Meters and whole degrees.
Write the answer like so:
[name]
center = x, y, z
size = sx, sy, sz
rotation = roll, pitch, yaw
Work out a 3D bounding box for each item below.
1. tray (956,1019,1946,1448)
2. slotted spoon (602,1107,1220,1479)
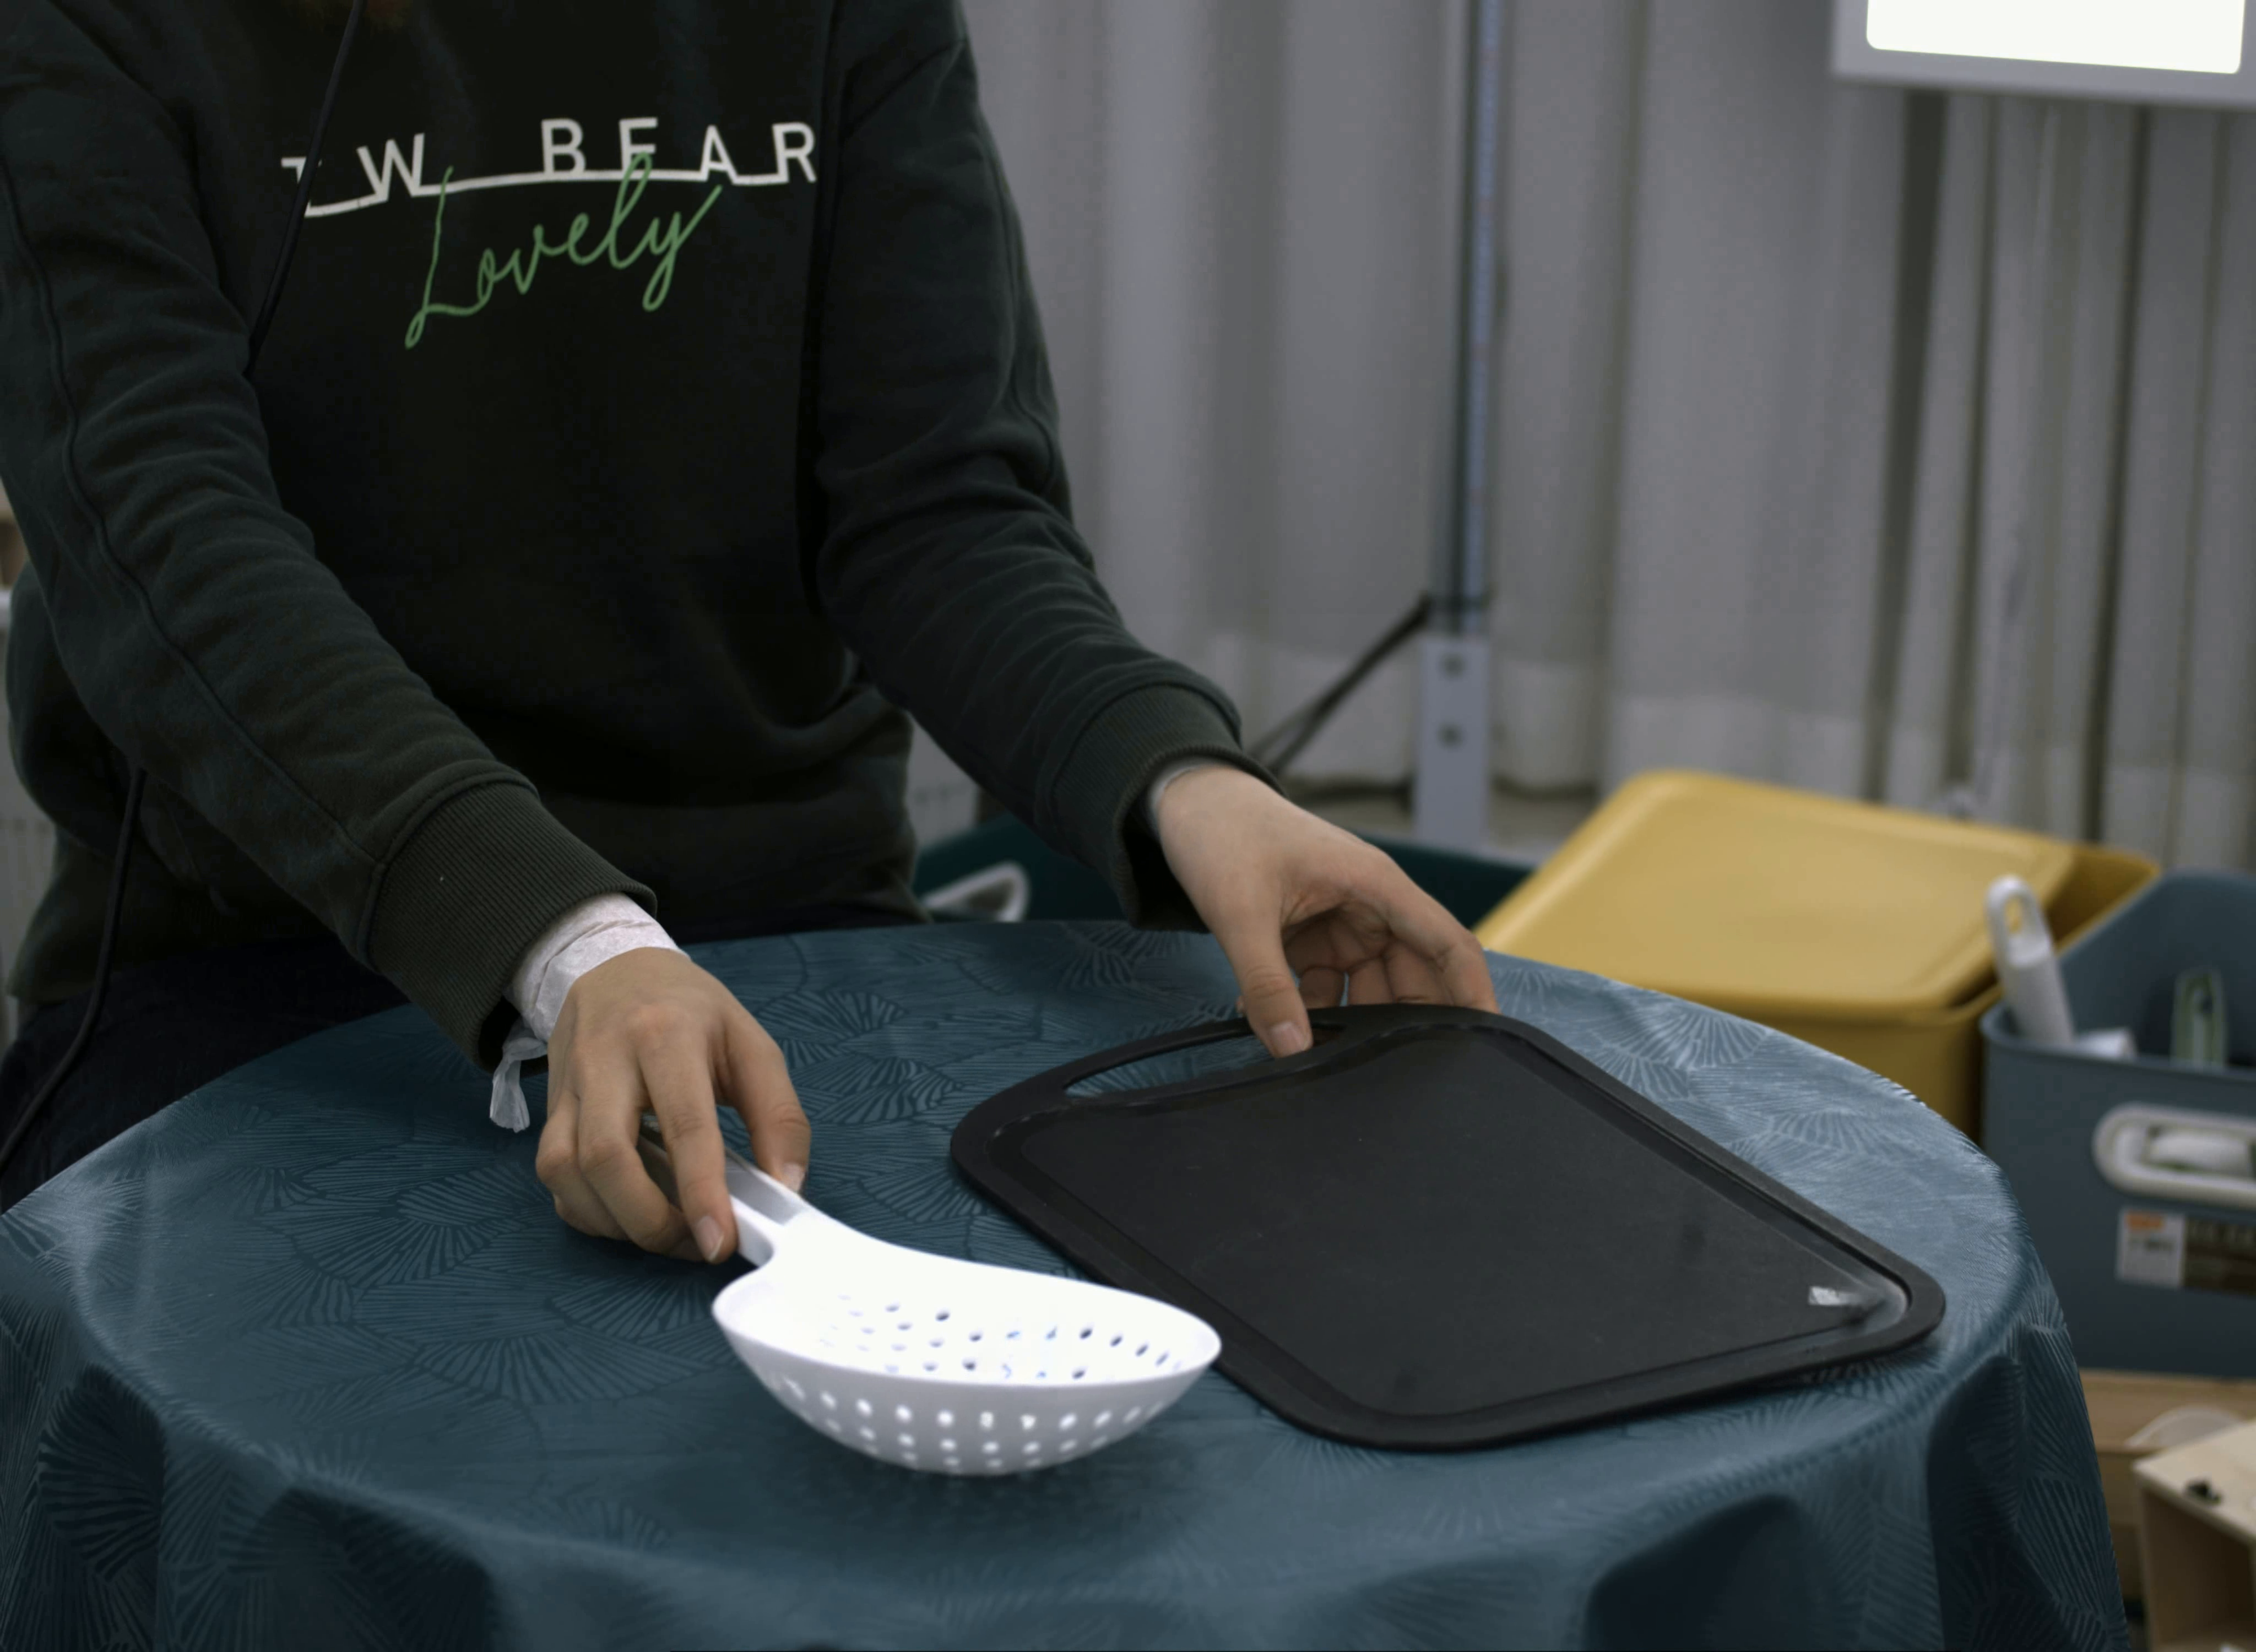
[tray]
center = 0.086, 0.114, 1.588
size = 0.212, 0.010, 0.321
rotation = -10, 20, -25
[slotted spoon]
center = -0.087, 0.123, 1.500
size = 0.137, 0.046, 0.345
rotation = 4, 13, -25
